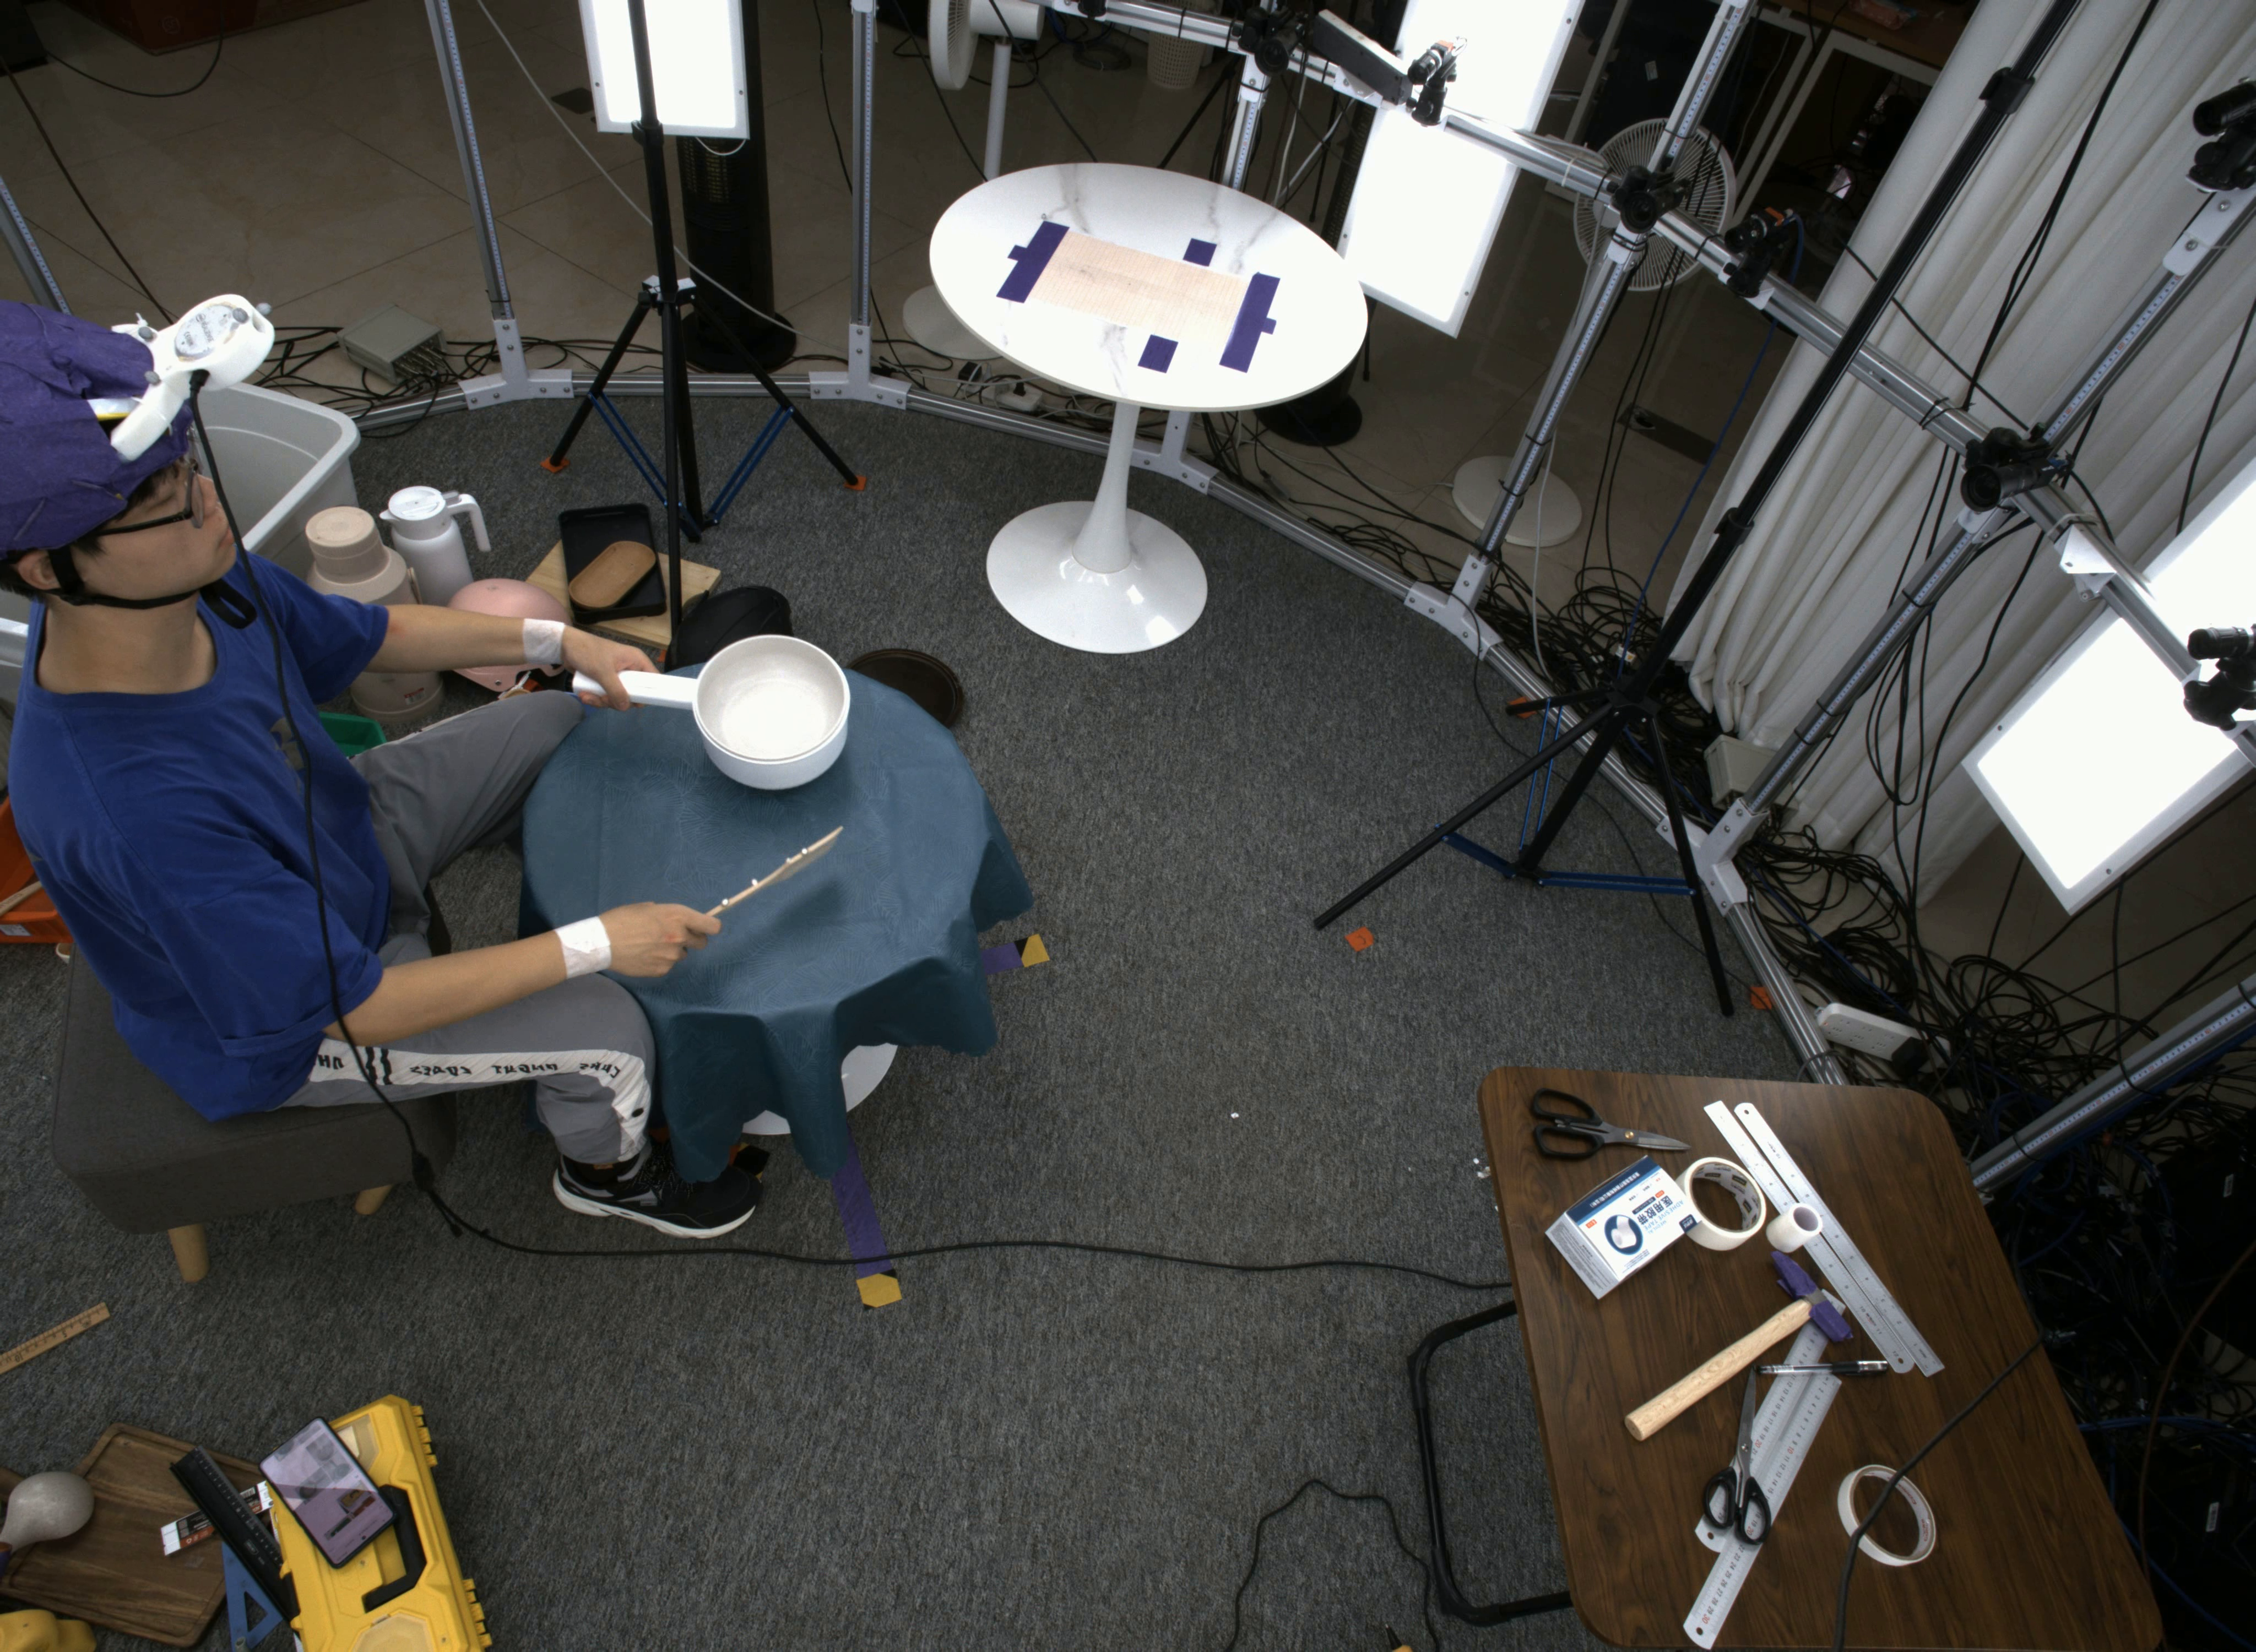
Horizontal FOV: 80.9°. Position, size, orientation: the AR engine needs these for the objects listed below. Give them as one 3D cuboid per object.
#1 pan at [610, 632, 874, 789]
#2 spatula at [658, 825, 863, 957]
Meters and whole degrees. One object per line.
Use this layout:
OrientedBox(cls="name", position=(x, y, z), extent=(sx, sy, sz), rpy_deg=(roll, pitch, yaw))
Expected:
OrientedBox(cls="pan", position=(-0.519, -0.161, 1.738), extent=(0.354, 0.103, 0.199), rpy_deg=(8, 63, -10))
OrientedBox(cls="spatula", position=(-0.447, 0.079, 1.584), extent=(0.294, 0.072, 0.011), rpy_deg=(-34, 88, -30))
